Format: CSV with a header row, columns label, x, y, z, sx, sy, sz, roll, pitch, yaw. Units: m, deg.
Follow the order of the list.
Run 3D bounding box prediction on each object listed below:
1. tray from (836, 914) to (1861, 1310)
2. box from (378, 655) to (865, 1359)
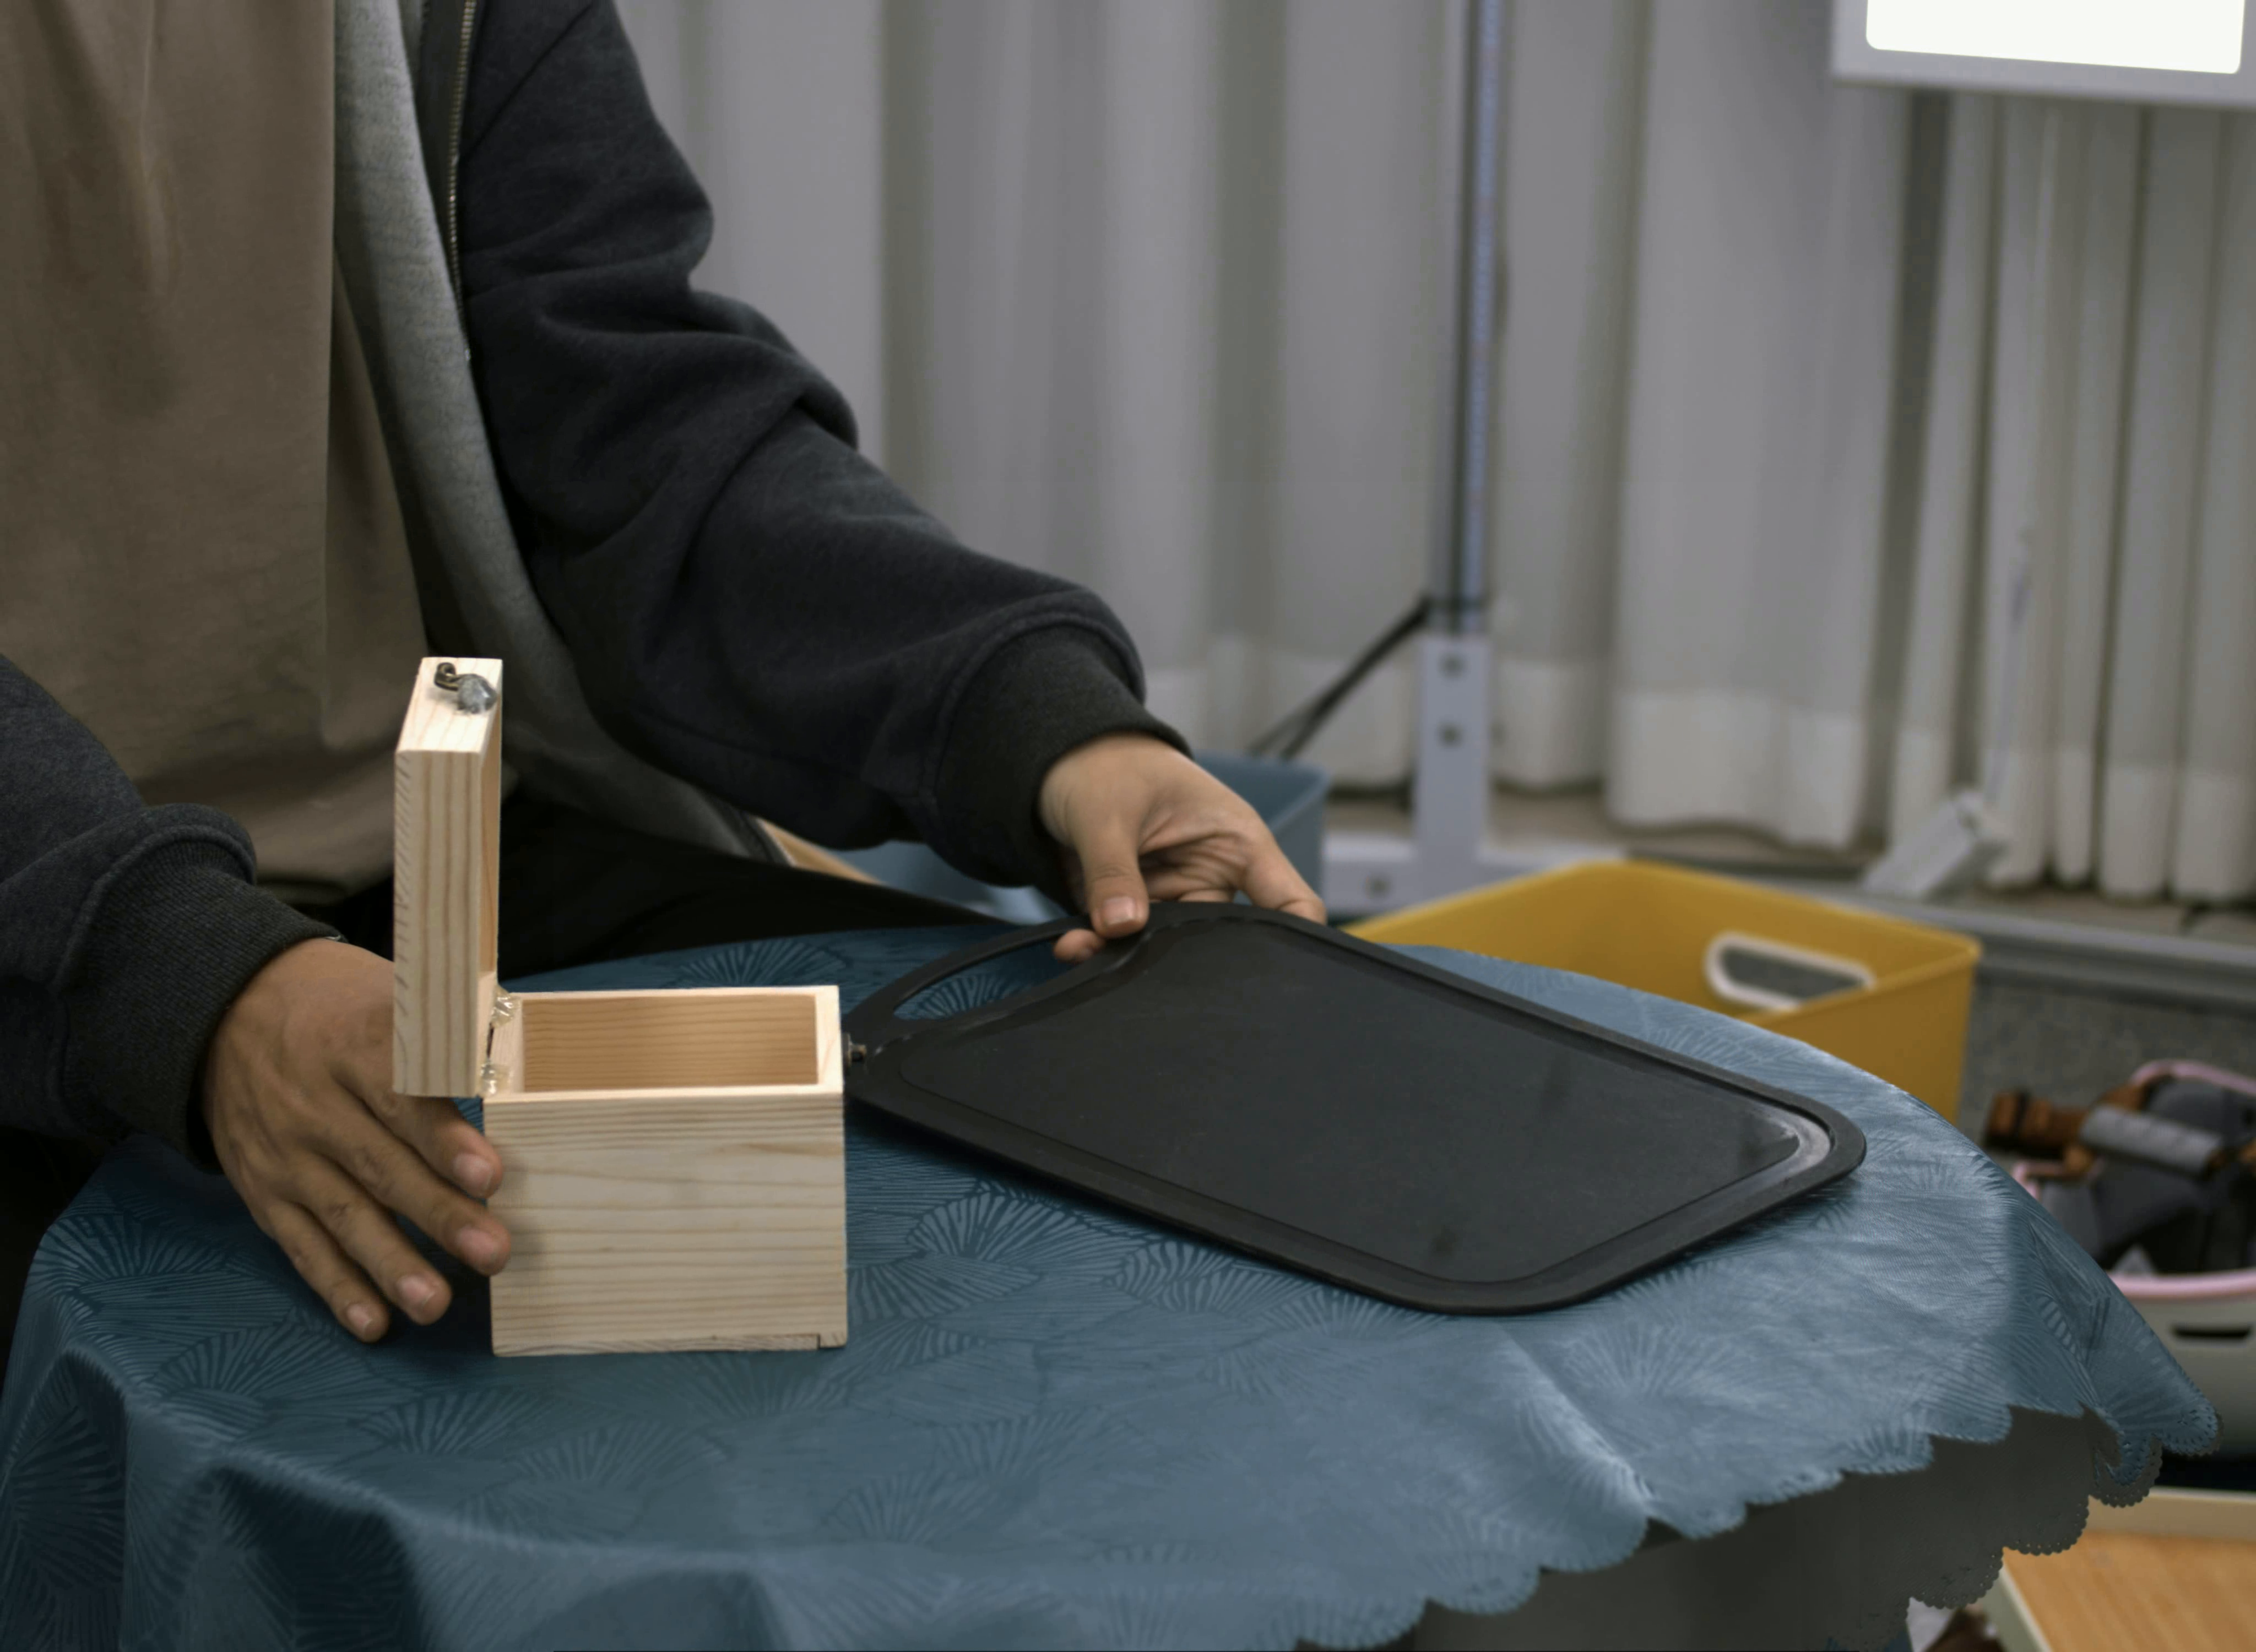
label,x,y,z,sx,sy,sz,roll,pitch,yaw
tray,0.058,0.083,1.675,0.321,0.010,0.212,19,26,39
box,-0.142,0.048,1.506,0.133,0.186,0.102,-3,17,-4
